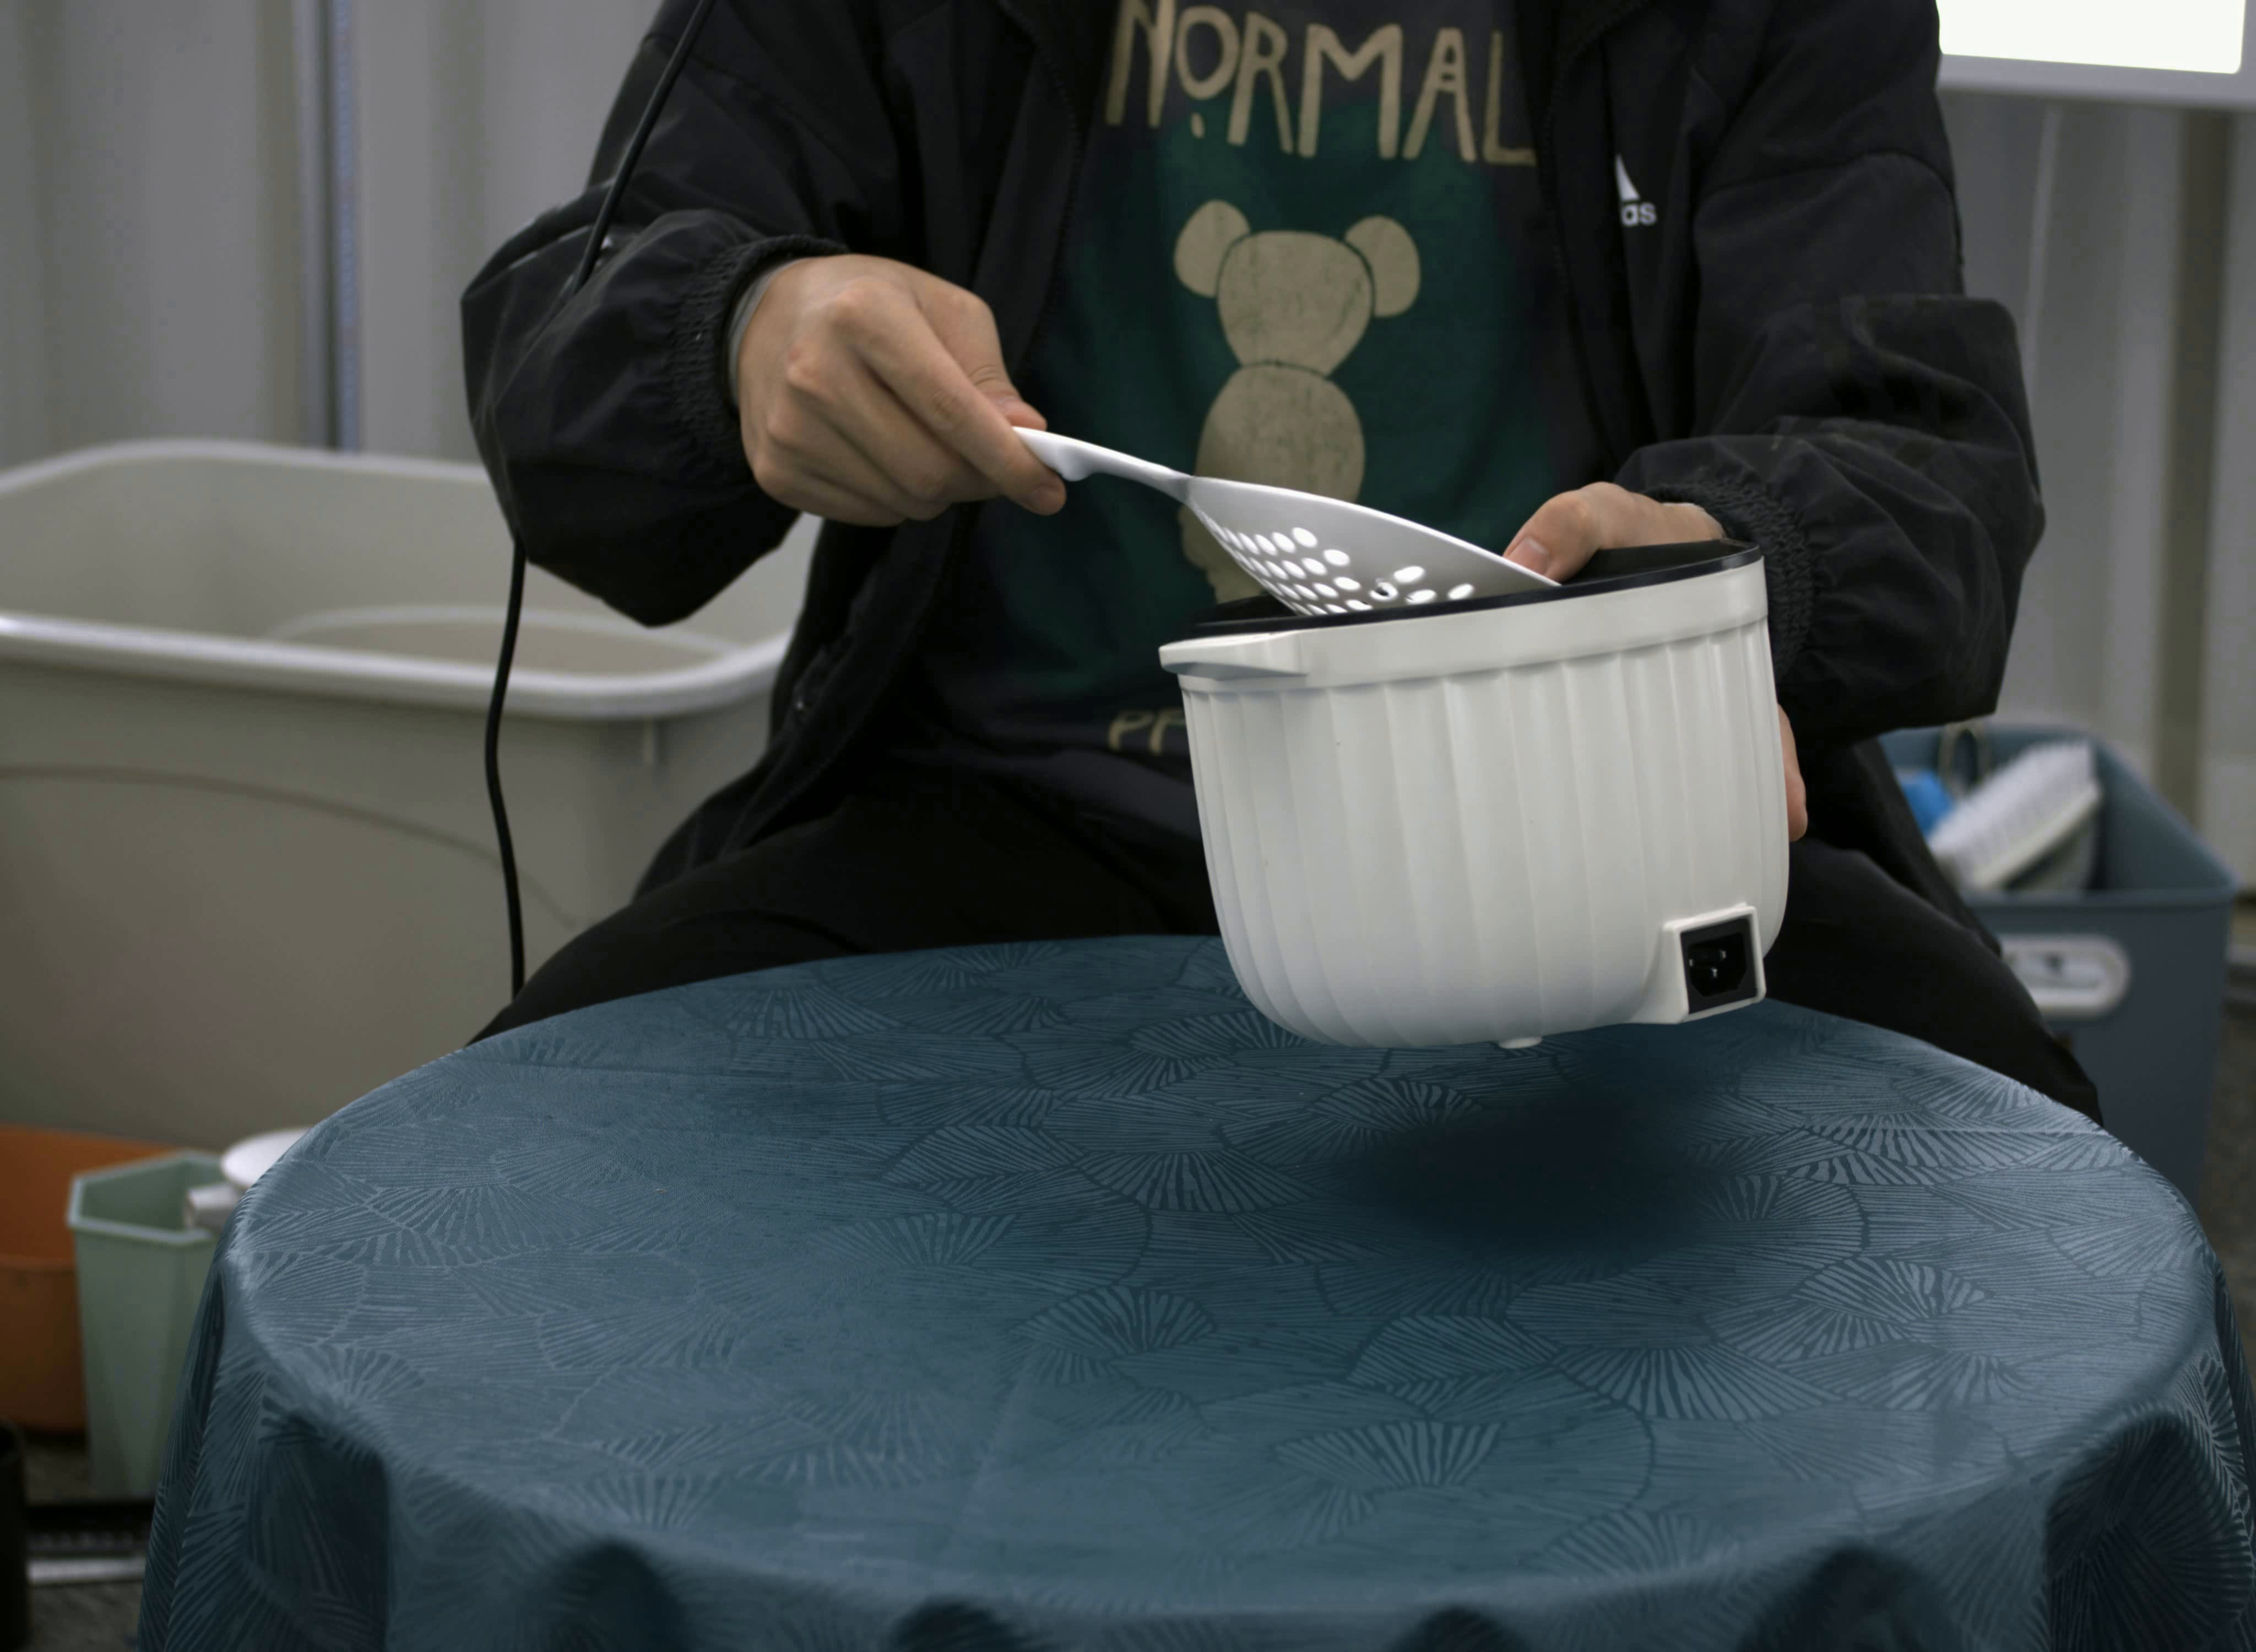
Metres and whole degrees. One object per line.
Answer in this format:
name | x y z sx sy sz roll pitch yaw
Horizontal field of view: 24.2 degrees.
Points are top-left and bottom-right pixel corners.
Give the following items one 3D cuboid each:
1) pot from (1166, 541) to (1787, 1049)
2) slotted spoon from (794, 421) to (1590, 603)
pot | 0.106 -0.009 1.609 0.242 0.143 0.188 -11 10 -42
slotted spoon | 0.019 -0.100 1.683 0.343 0.050 0.138 23 4 42
